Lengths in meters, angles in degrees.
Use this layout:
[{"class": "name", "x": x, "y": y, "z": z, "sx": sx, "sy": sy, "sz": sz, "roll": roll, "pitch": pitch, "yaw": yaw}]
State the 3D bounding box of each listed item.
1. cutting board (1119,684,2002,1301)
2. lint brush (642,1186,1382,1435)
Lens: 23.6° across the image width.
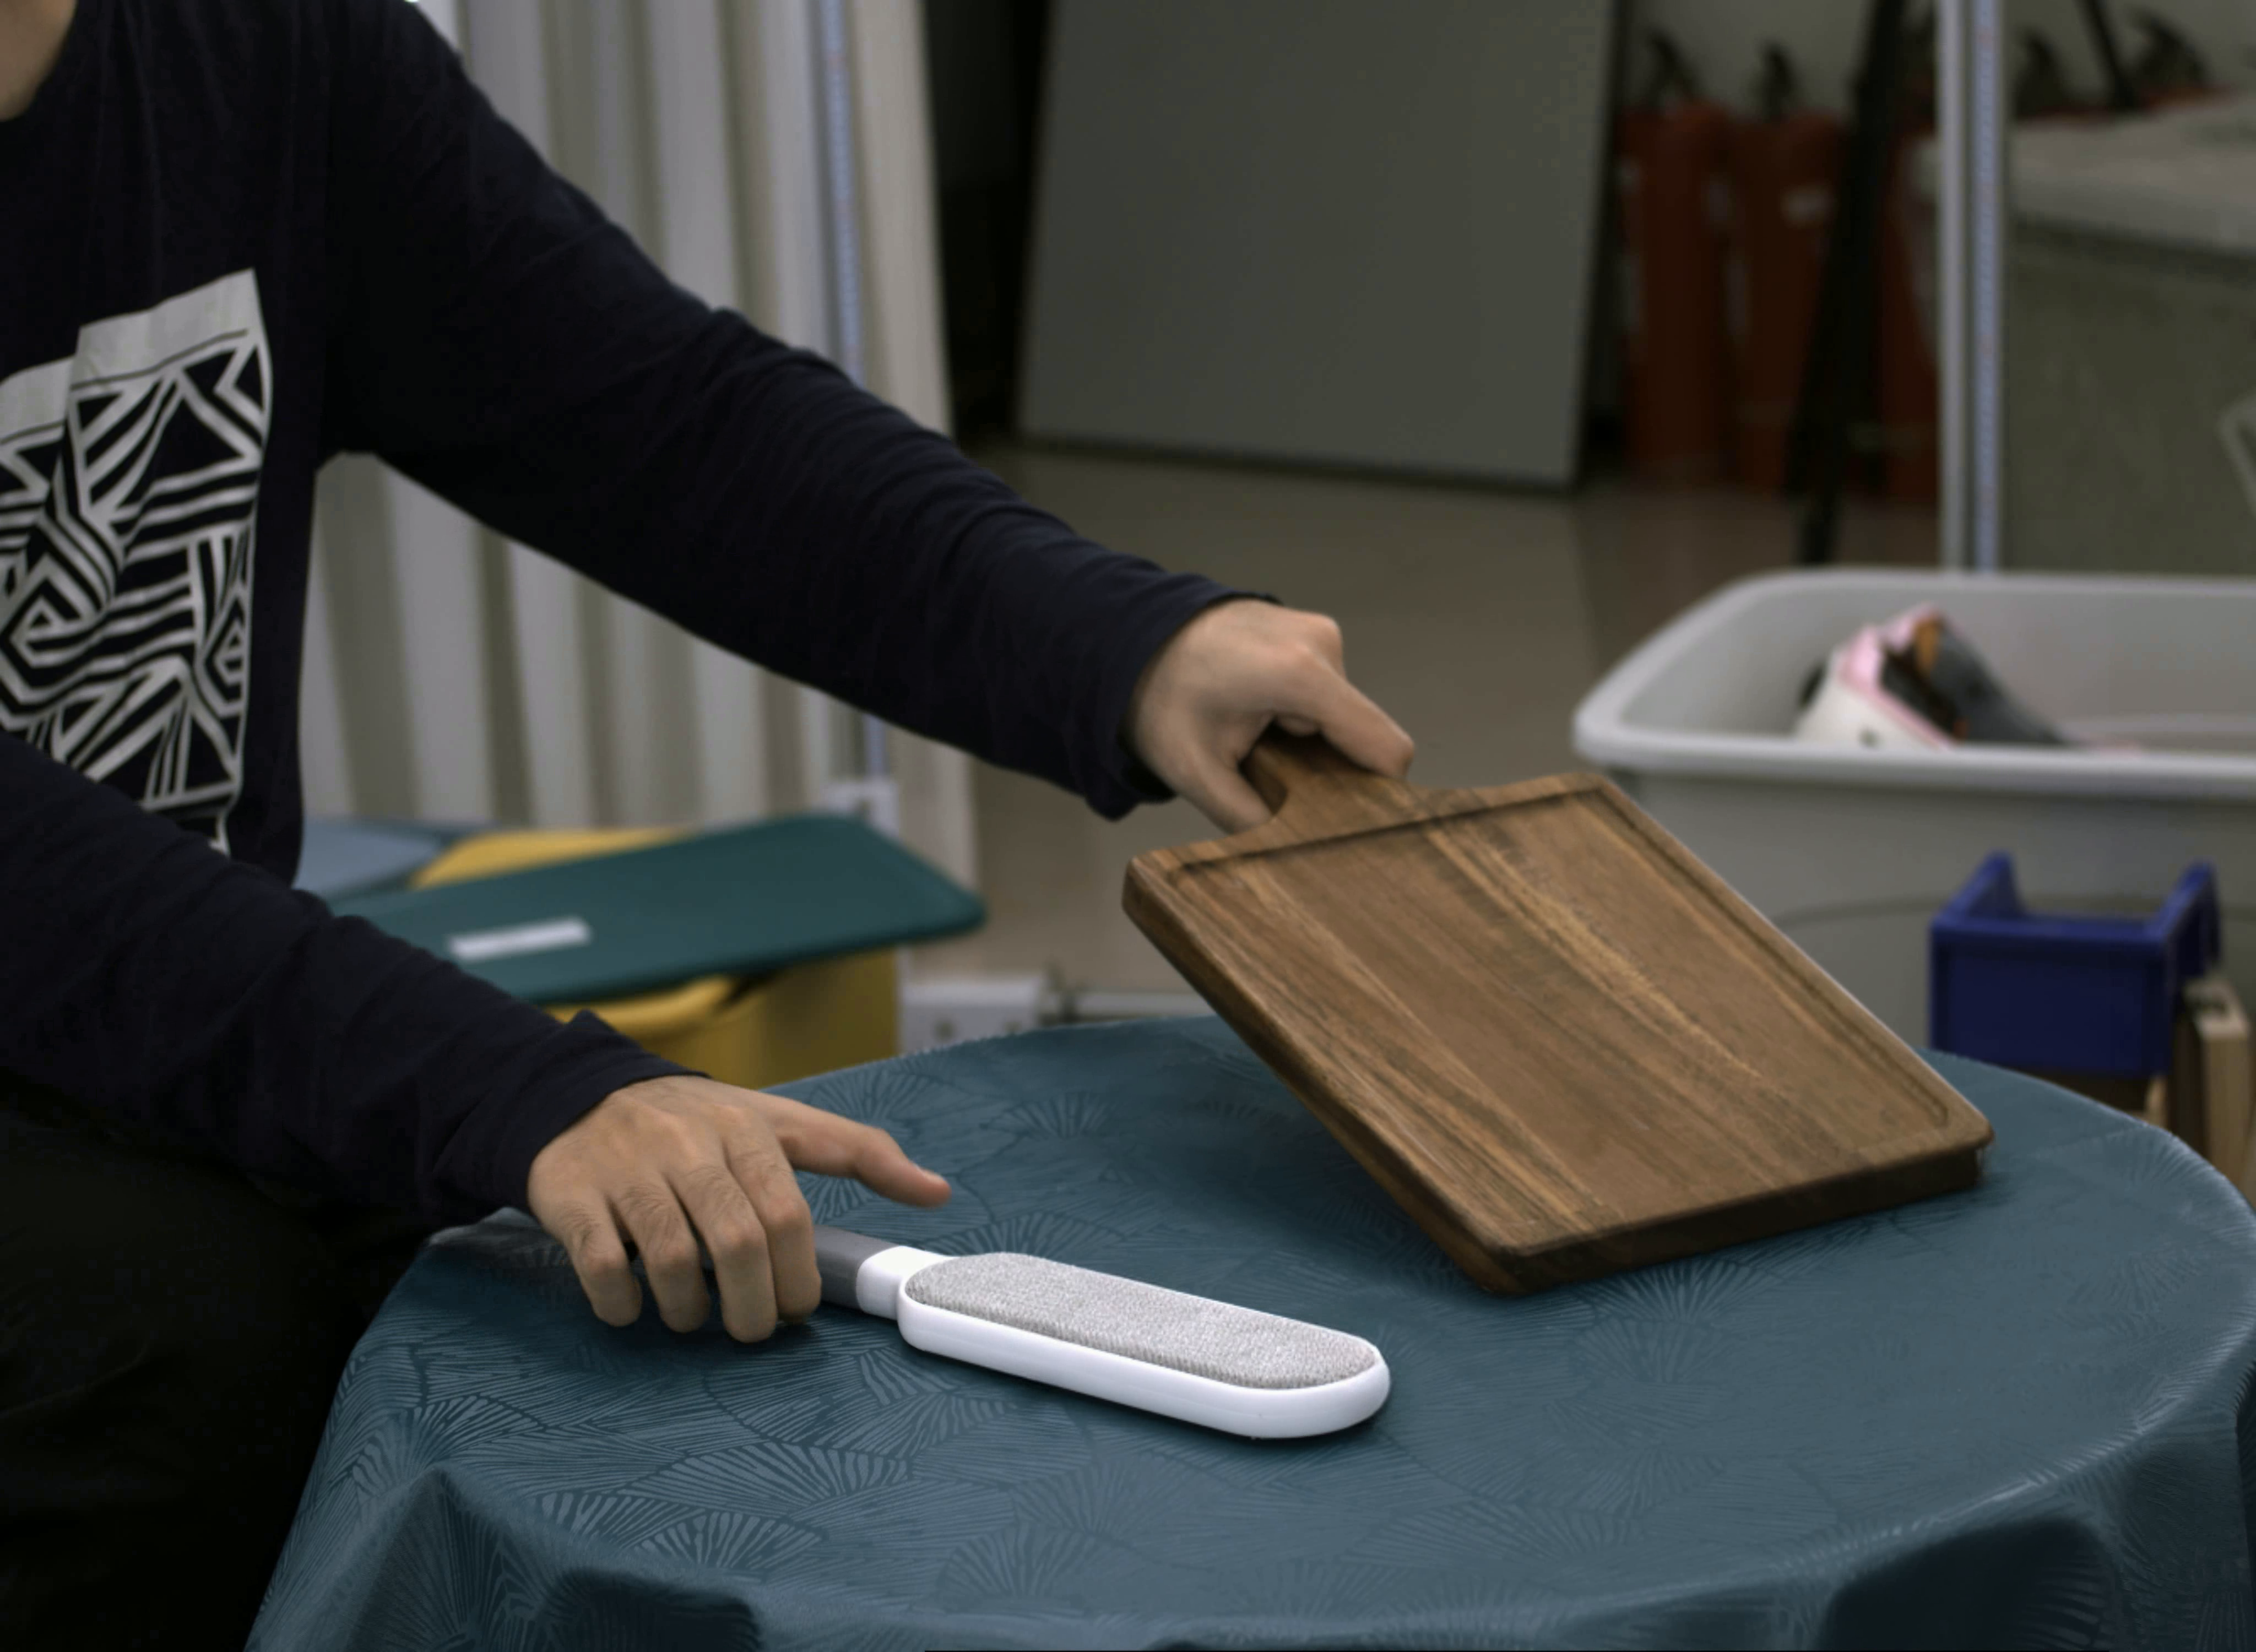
[{"class": "cutting board", "x": 0.115, "y": 0.040, "z": 1.807, "sx": 0.196, "sy": 0.023, "sz": 0.356, "roll": -11, "pitch": 33, "yaw": -26}, {"class": "lint brush", "x": -0.042, "y": 0.143, "z": 1.640, "sx": 0.312, "sy": 0.021, "sz": 0.059, "roll": 9, "pitch": 24, "yaw": 45}]
